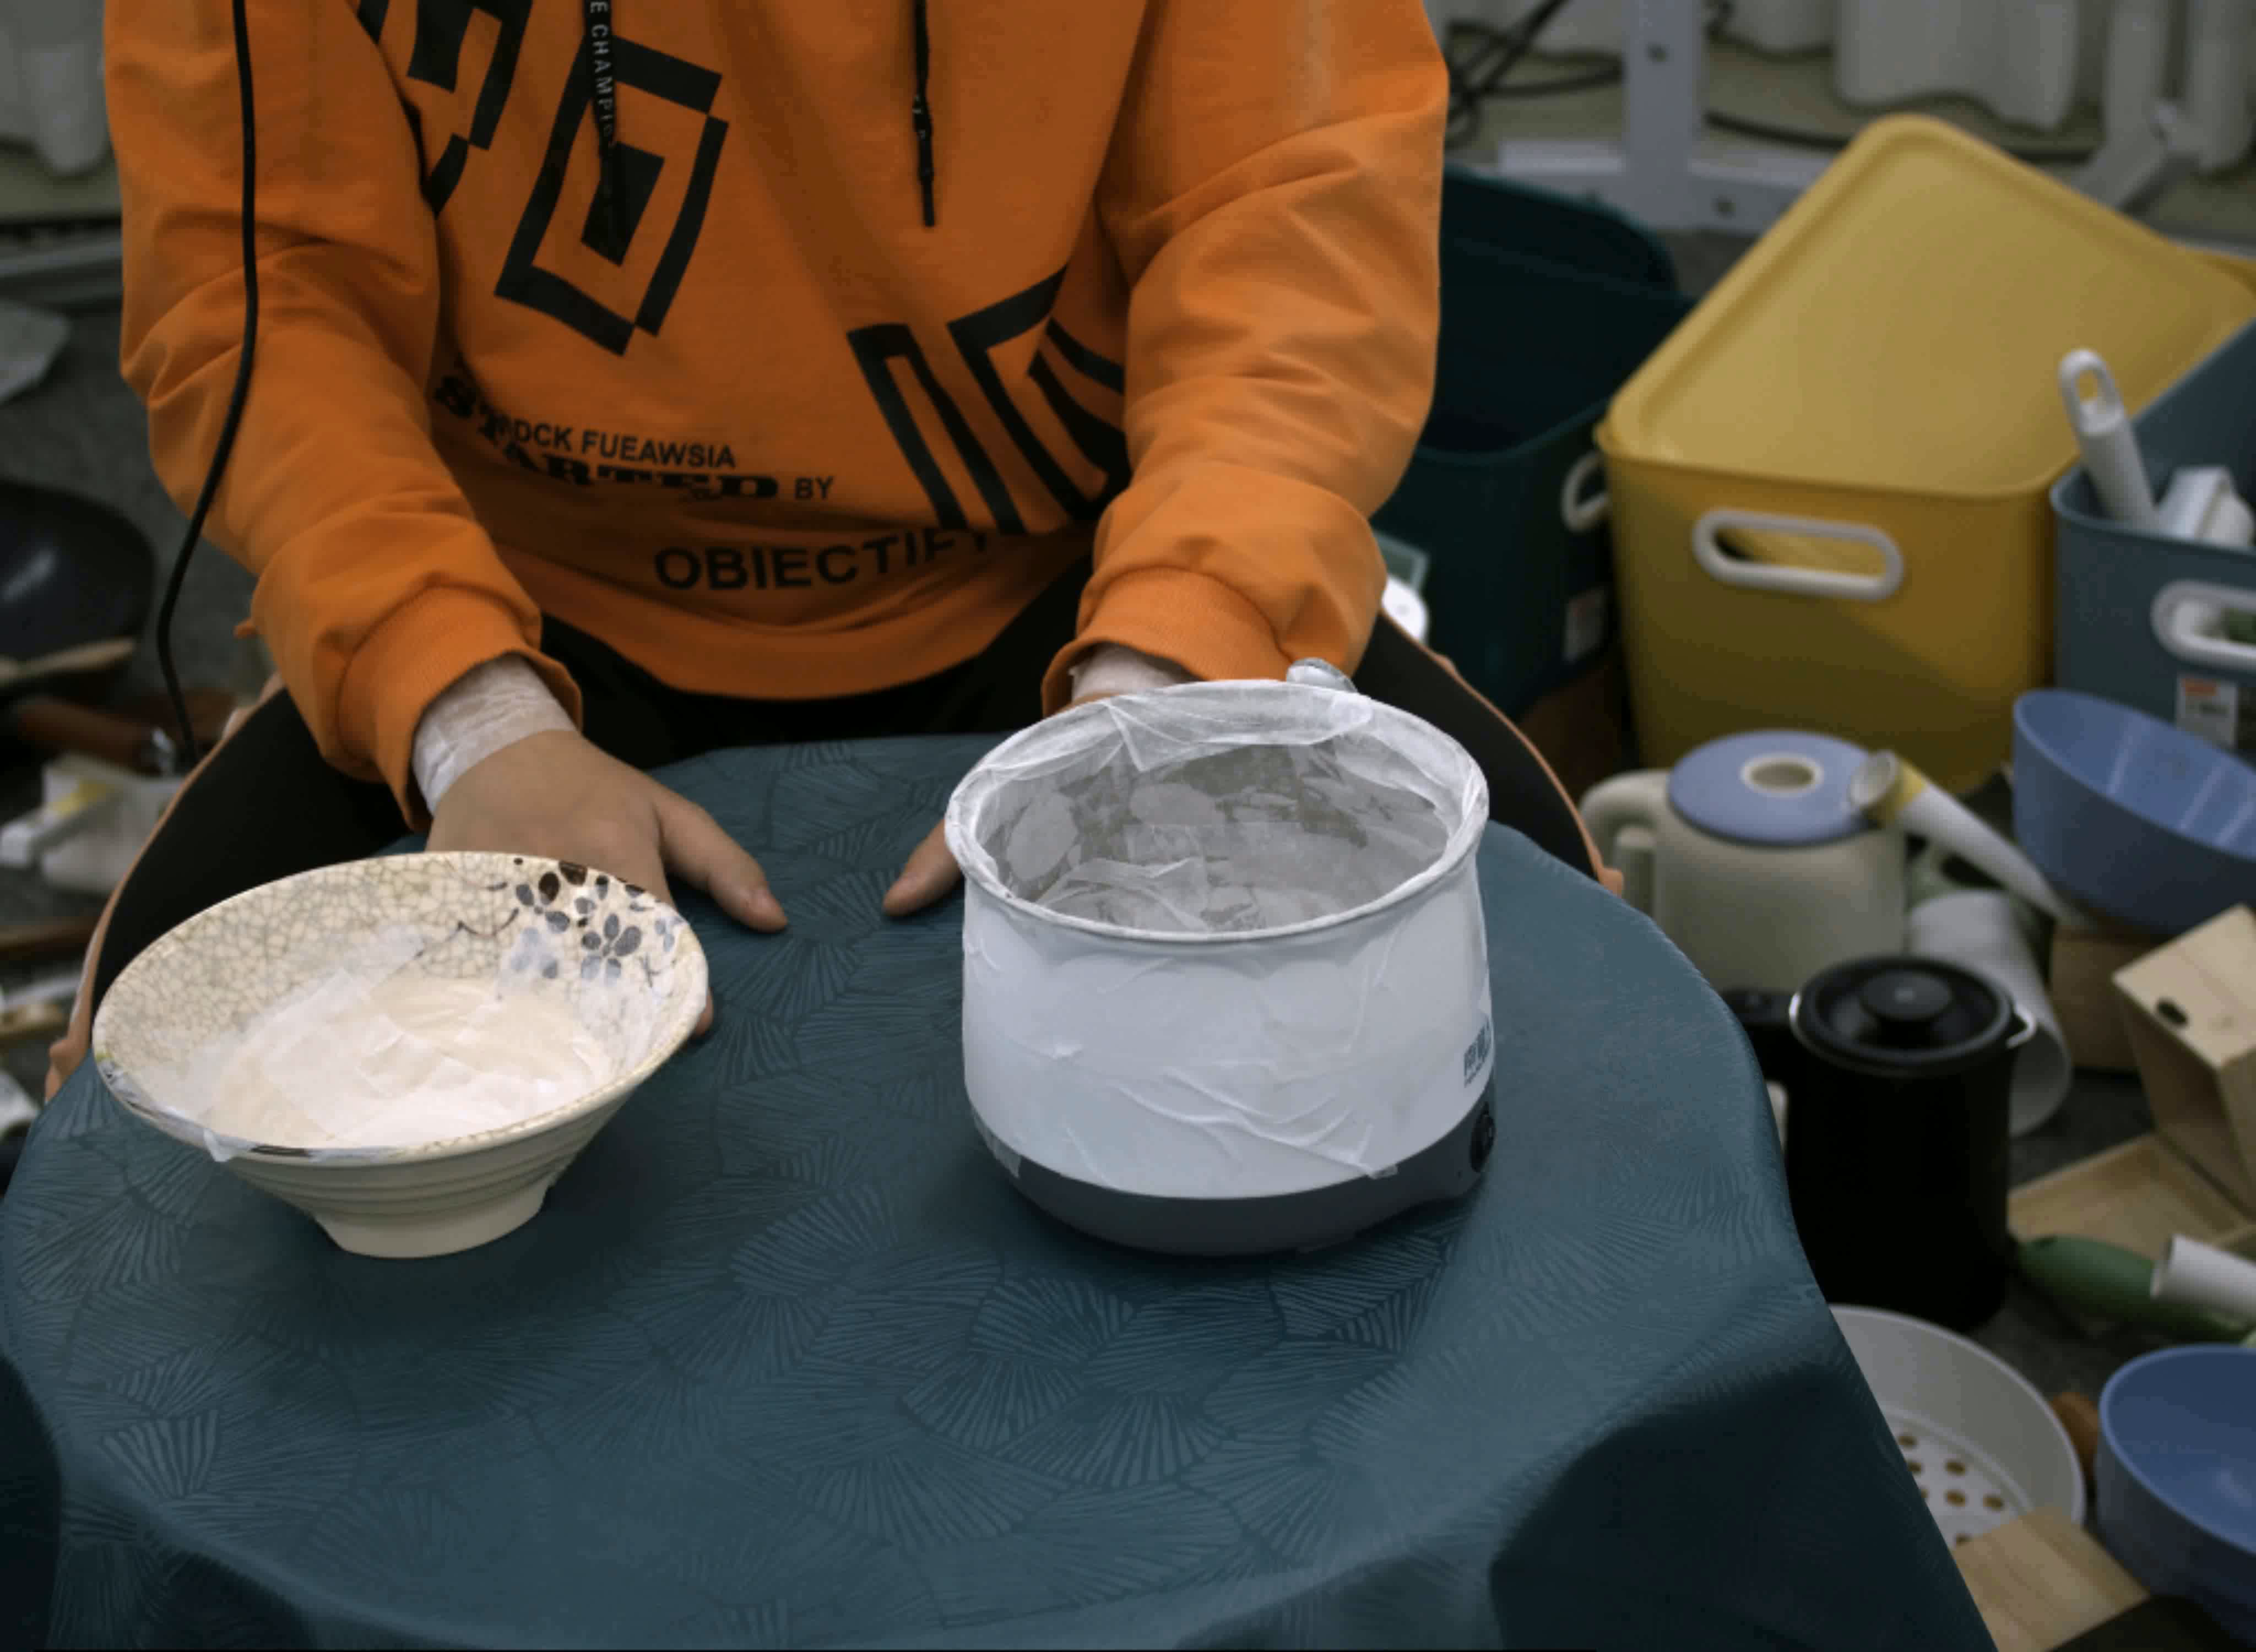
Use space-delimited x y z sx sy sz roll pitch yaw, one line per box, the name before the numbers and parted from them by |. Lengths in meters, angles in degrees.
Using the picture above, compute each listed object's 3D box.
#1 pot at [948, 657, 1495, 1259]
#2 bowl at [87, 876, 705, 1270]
pot | 0.041 0.036 1.876 0.177 0.135 0.238 6 29 17
bowl | -0.239 0.094 1.863 0.203 0.077 0.207 -2 23 1
